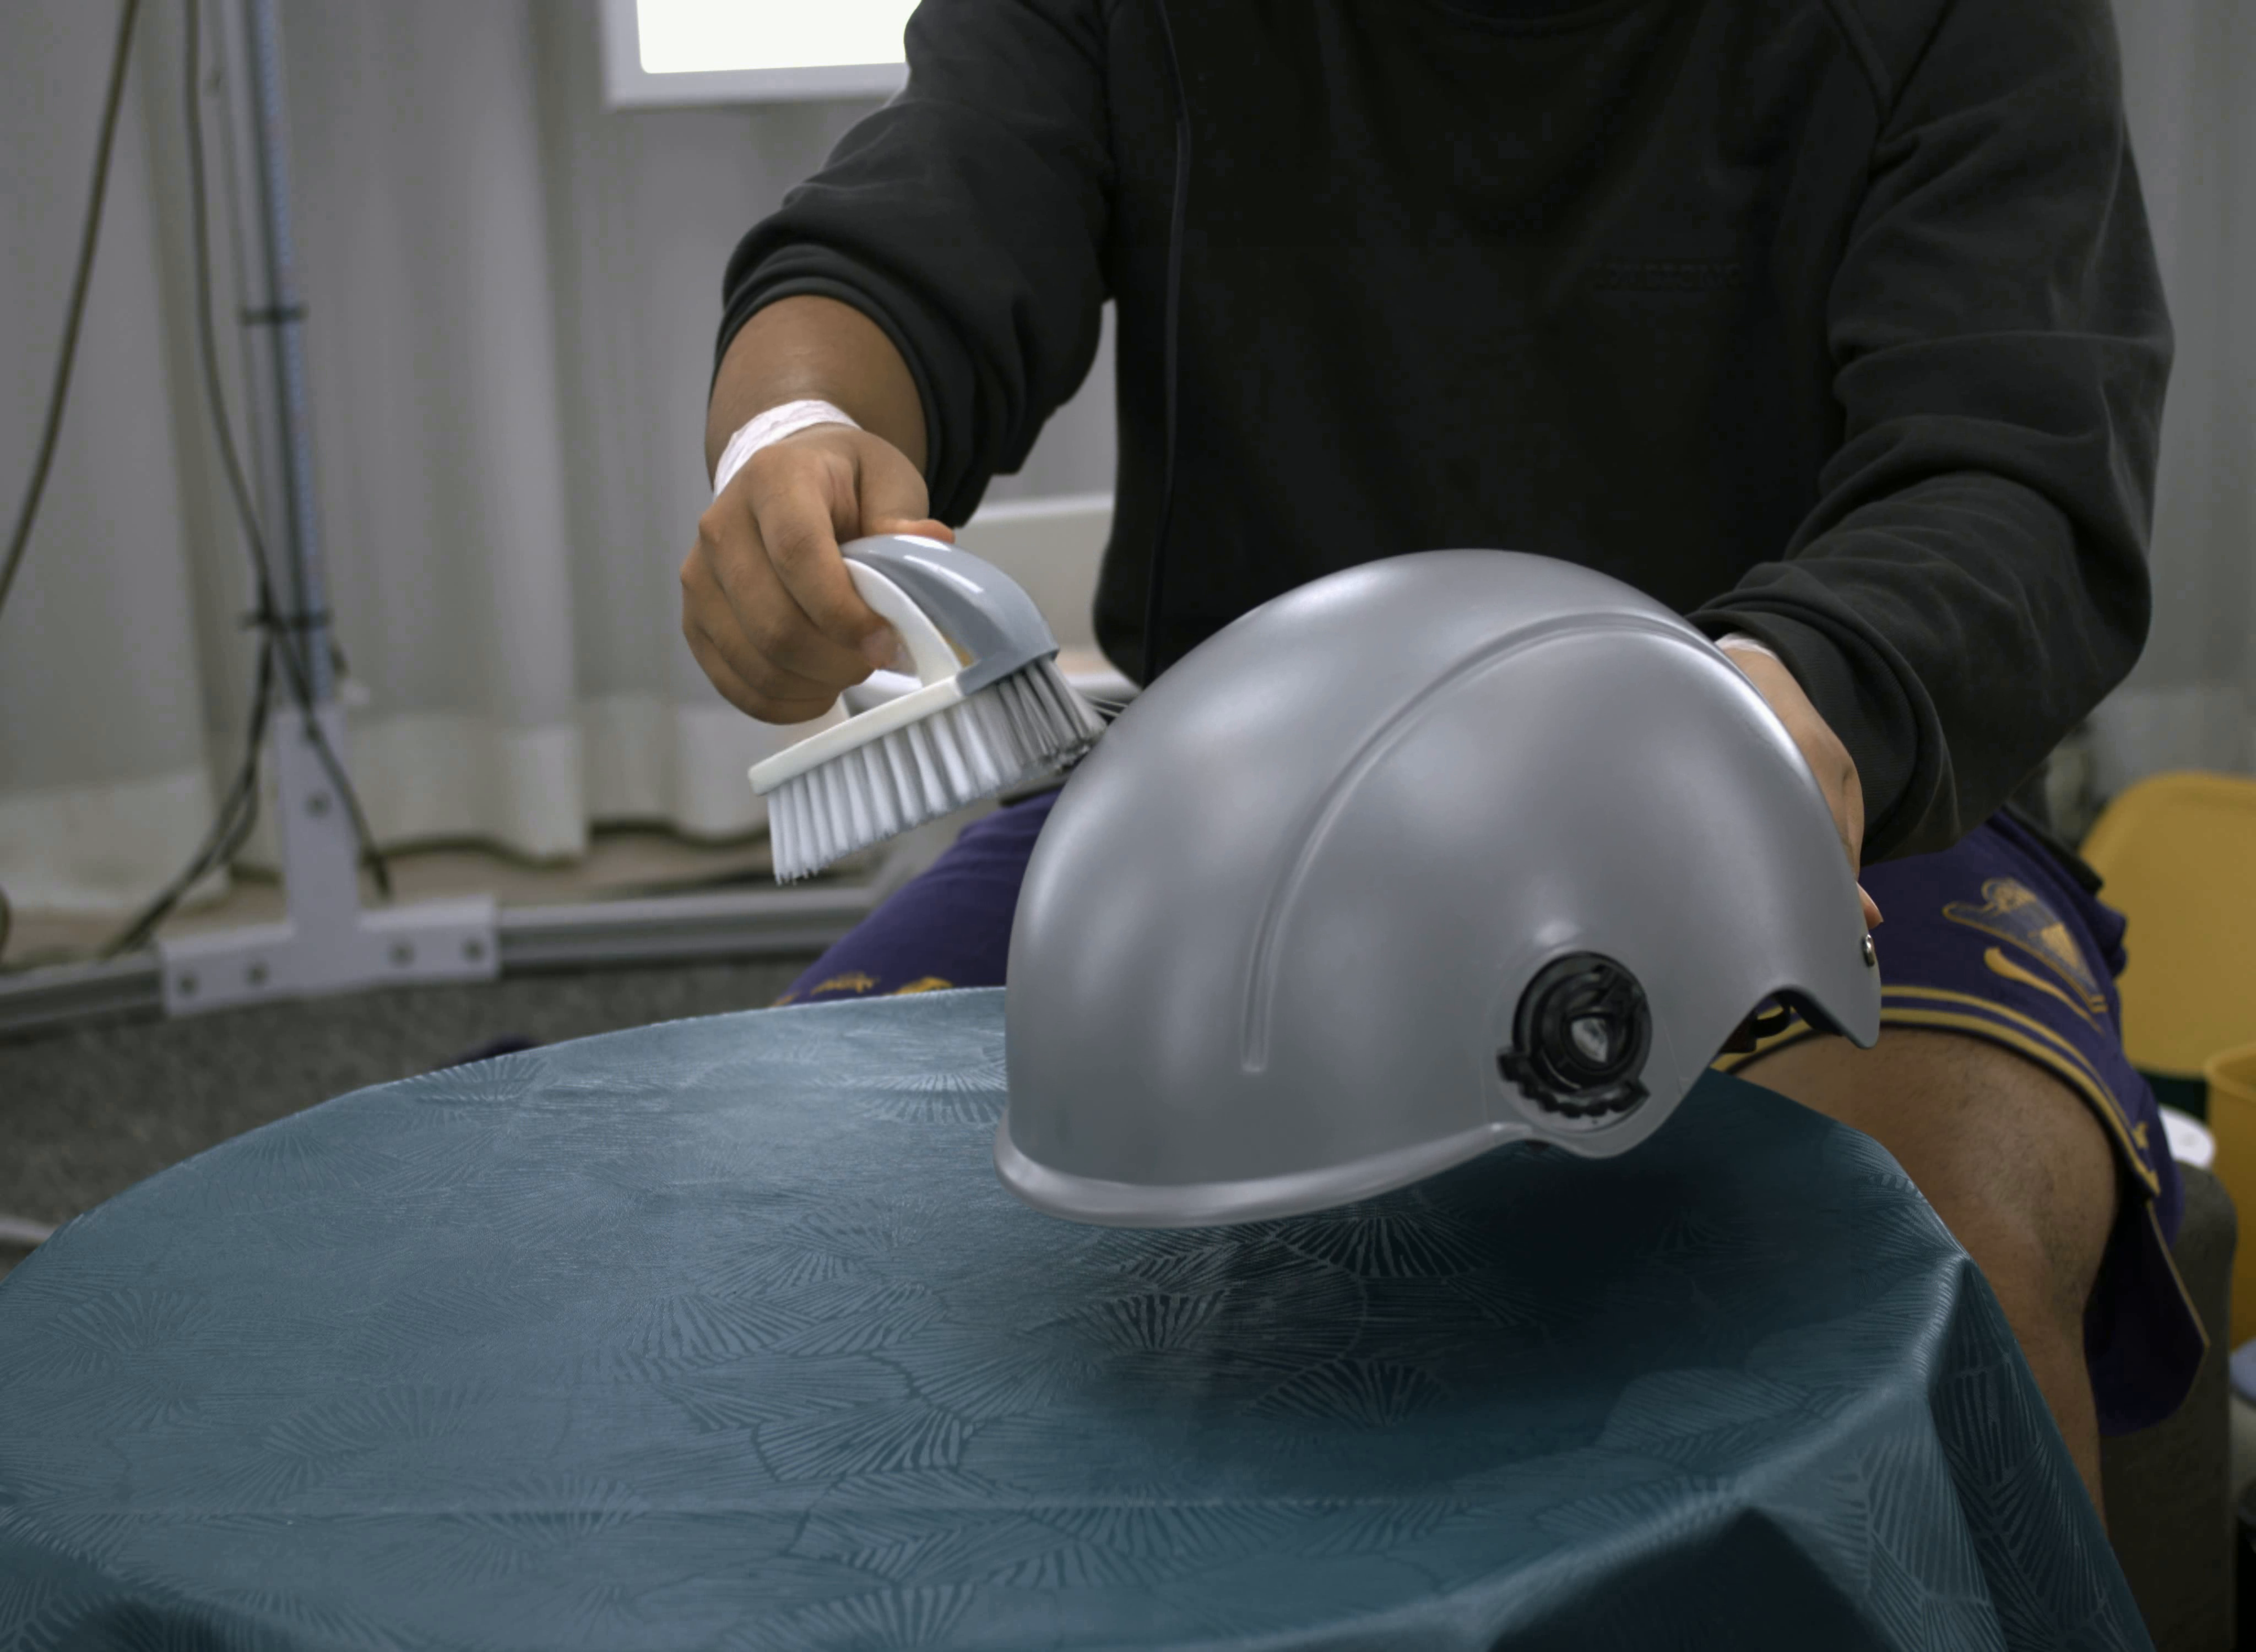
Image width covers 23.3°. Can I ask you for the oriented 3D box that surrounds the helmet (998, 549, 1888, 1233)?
[{"bbox_3d":[0.082,0.008,1.594,0.275,0.168,0.233,-14,11,-36],"label":"helmet"}]

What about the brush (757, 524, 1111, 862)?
[{"bbox_3d":[-0.063,-0.049,1.662,0.061,0.094,0.175,-23,2,-29],"label":"brush"}]
